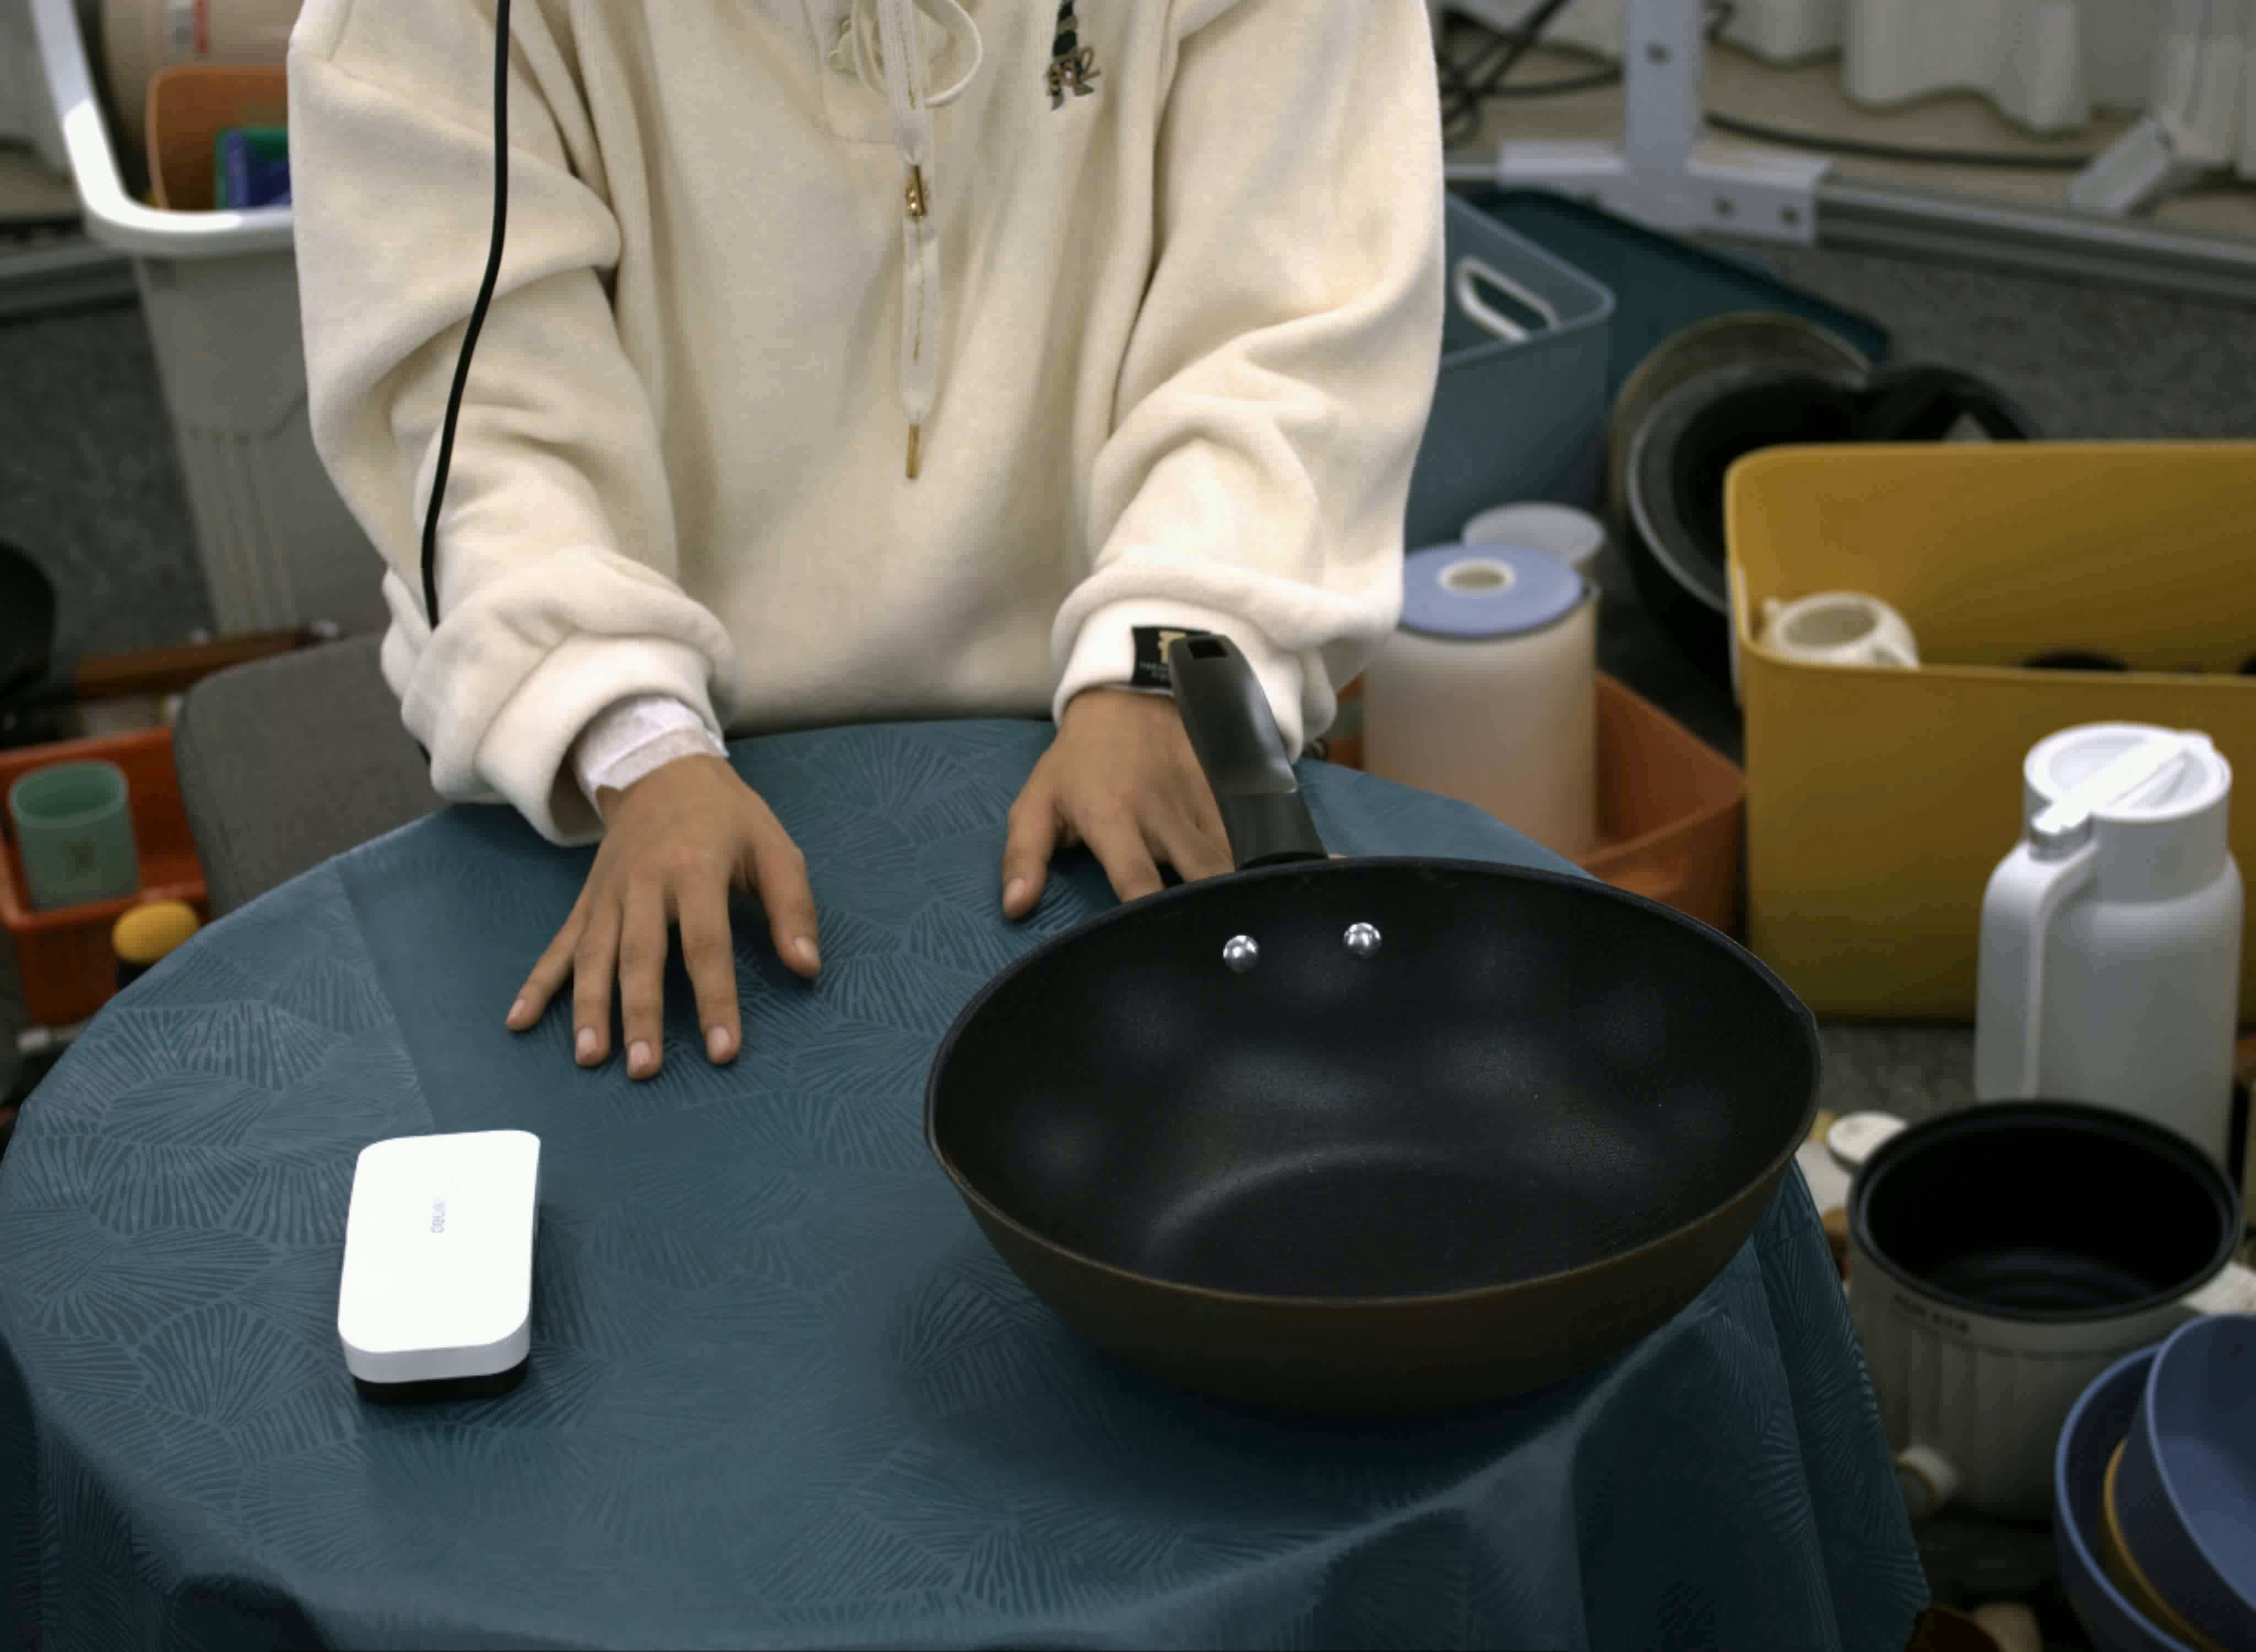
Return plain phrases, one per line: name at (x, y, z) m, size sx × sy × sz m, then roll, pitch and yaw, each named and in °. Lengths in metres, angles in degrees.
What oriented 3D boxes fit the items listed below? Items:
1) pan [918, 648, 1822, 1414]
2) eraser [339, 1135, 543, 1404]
pan at (0.064, 0.069, 1.868) m, size 0.287 × 0.086 × 0.469 m, roll -6°, pitch 26°, yaw -7°
eraser at (-0.221, 0.140, 1.815) m, size 0.063 × 0.034 × 0.133 m, roll -1°, pitch 28°, yaw -3°
